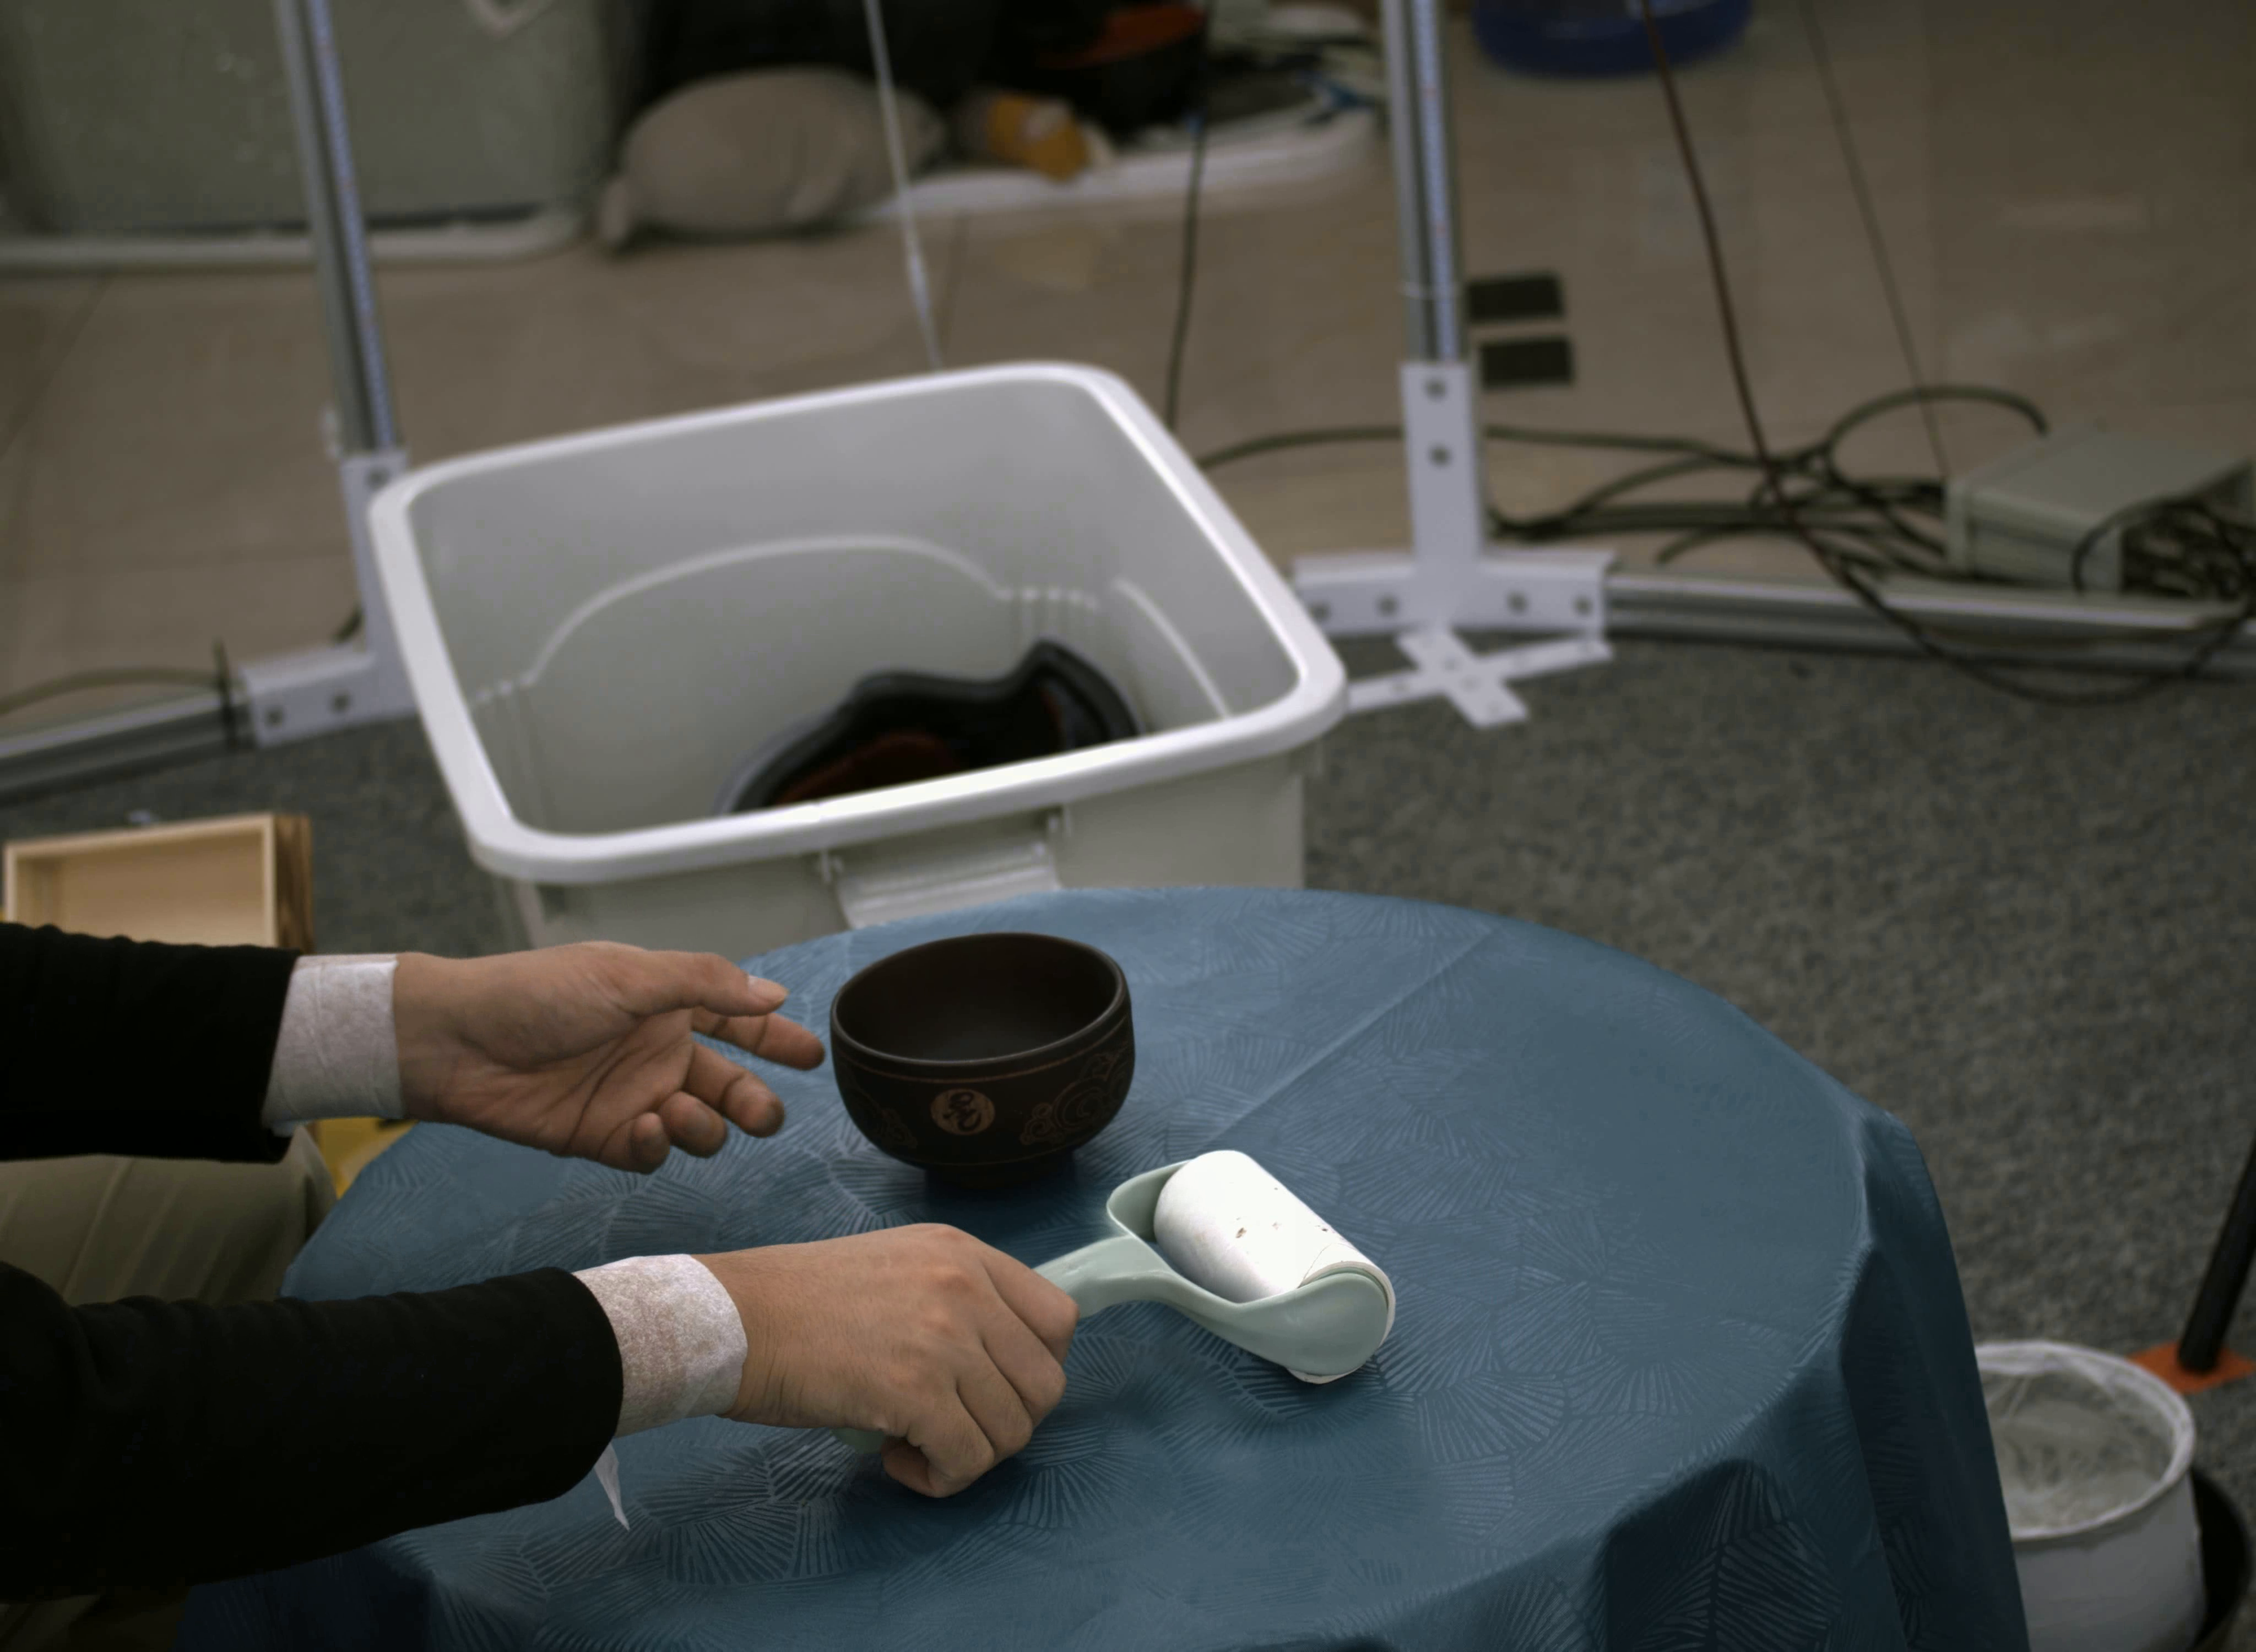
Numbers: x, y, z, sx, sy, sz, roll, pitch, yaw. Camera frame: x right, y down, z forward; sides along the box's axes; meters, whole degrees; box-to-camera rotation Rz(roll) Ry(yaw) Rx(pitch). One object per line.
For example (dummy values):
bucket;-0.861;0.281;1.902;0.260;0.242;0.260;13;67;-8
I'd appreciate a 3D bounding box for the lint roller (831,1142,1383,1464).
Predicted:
lint roller;-0.018;0.174;2.018;0.196;0.049;0.115;-16;28;-21

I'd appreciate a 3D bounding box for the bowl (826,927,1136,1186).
bowl;-0.054;0.095;2.171;0.118;0.071;0.116;-5;27;3
